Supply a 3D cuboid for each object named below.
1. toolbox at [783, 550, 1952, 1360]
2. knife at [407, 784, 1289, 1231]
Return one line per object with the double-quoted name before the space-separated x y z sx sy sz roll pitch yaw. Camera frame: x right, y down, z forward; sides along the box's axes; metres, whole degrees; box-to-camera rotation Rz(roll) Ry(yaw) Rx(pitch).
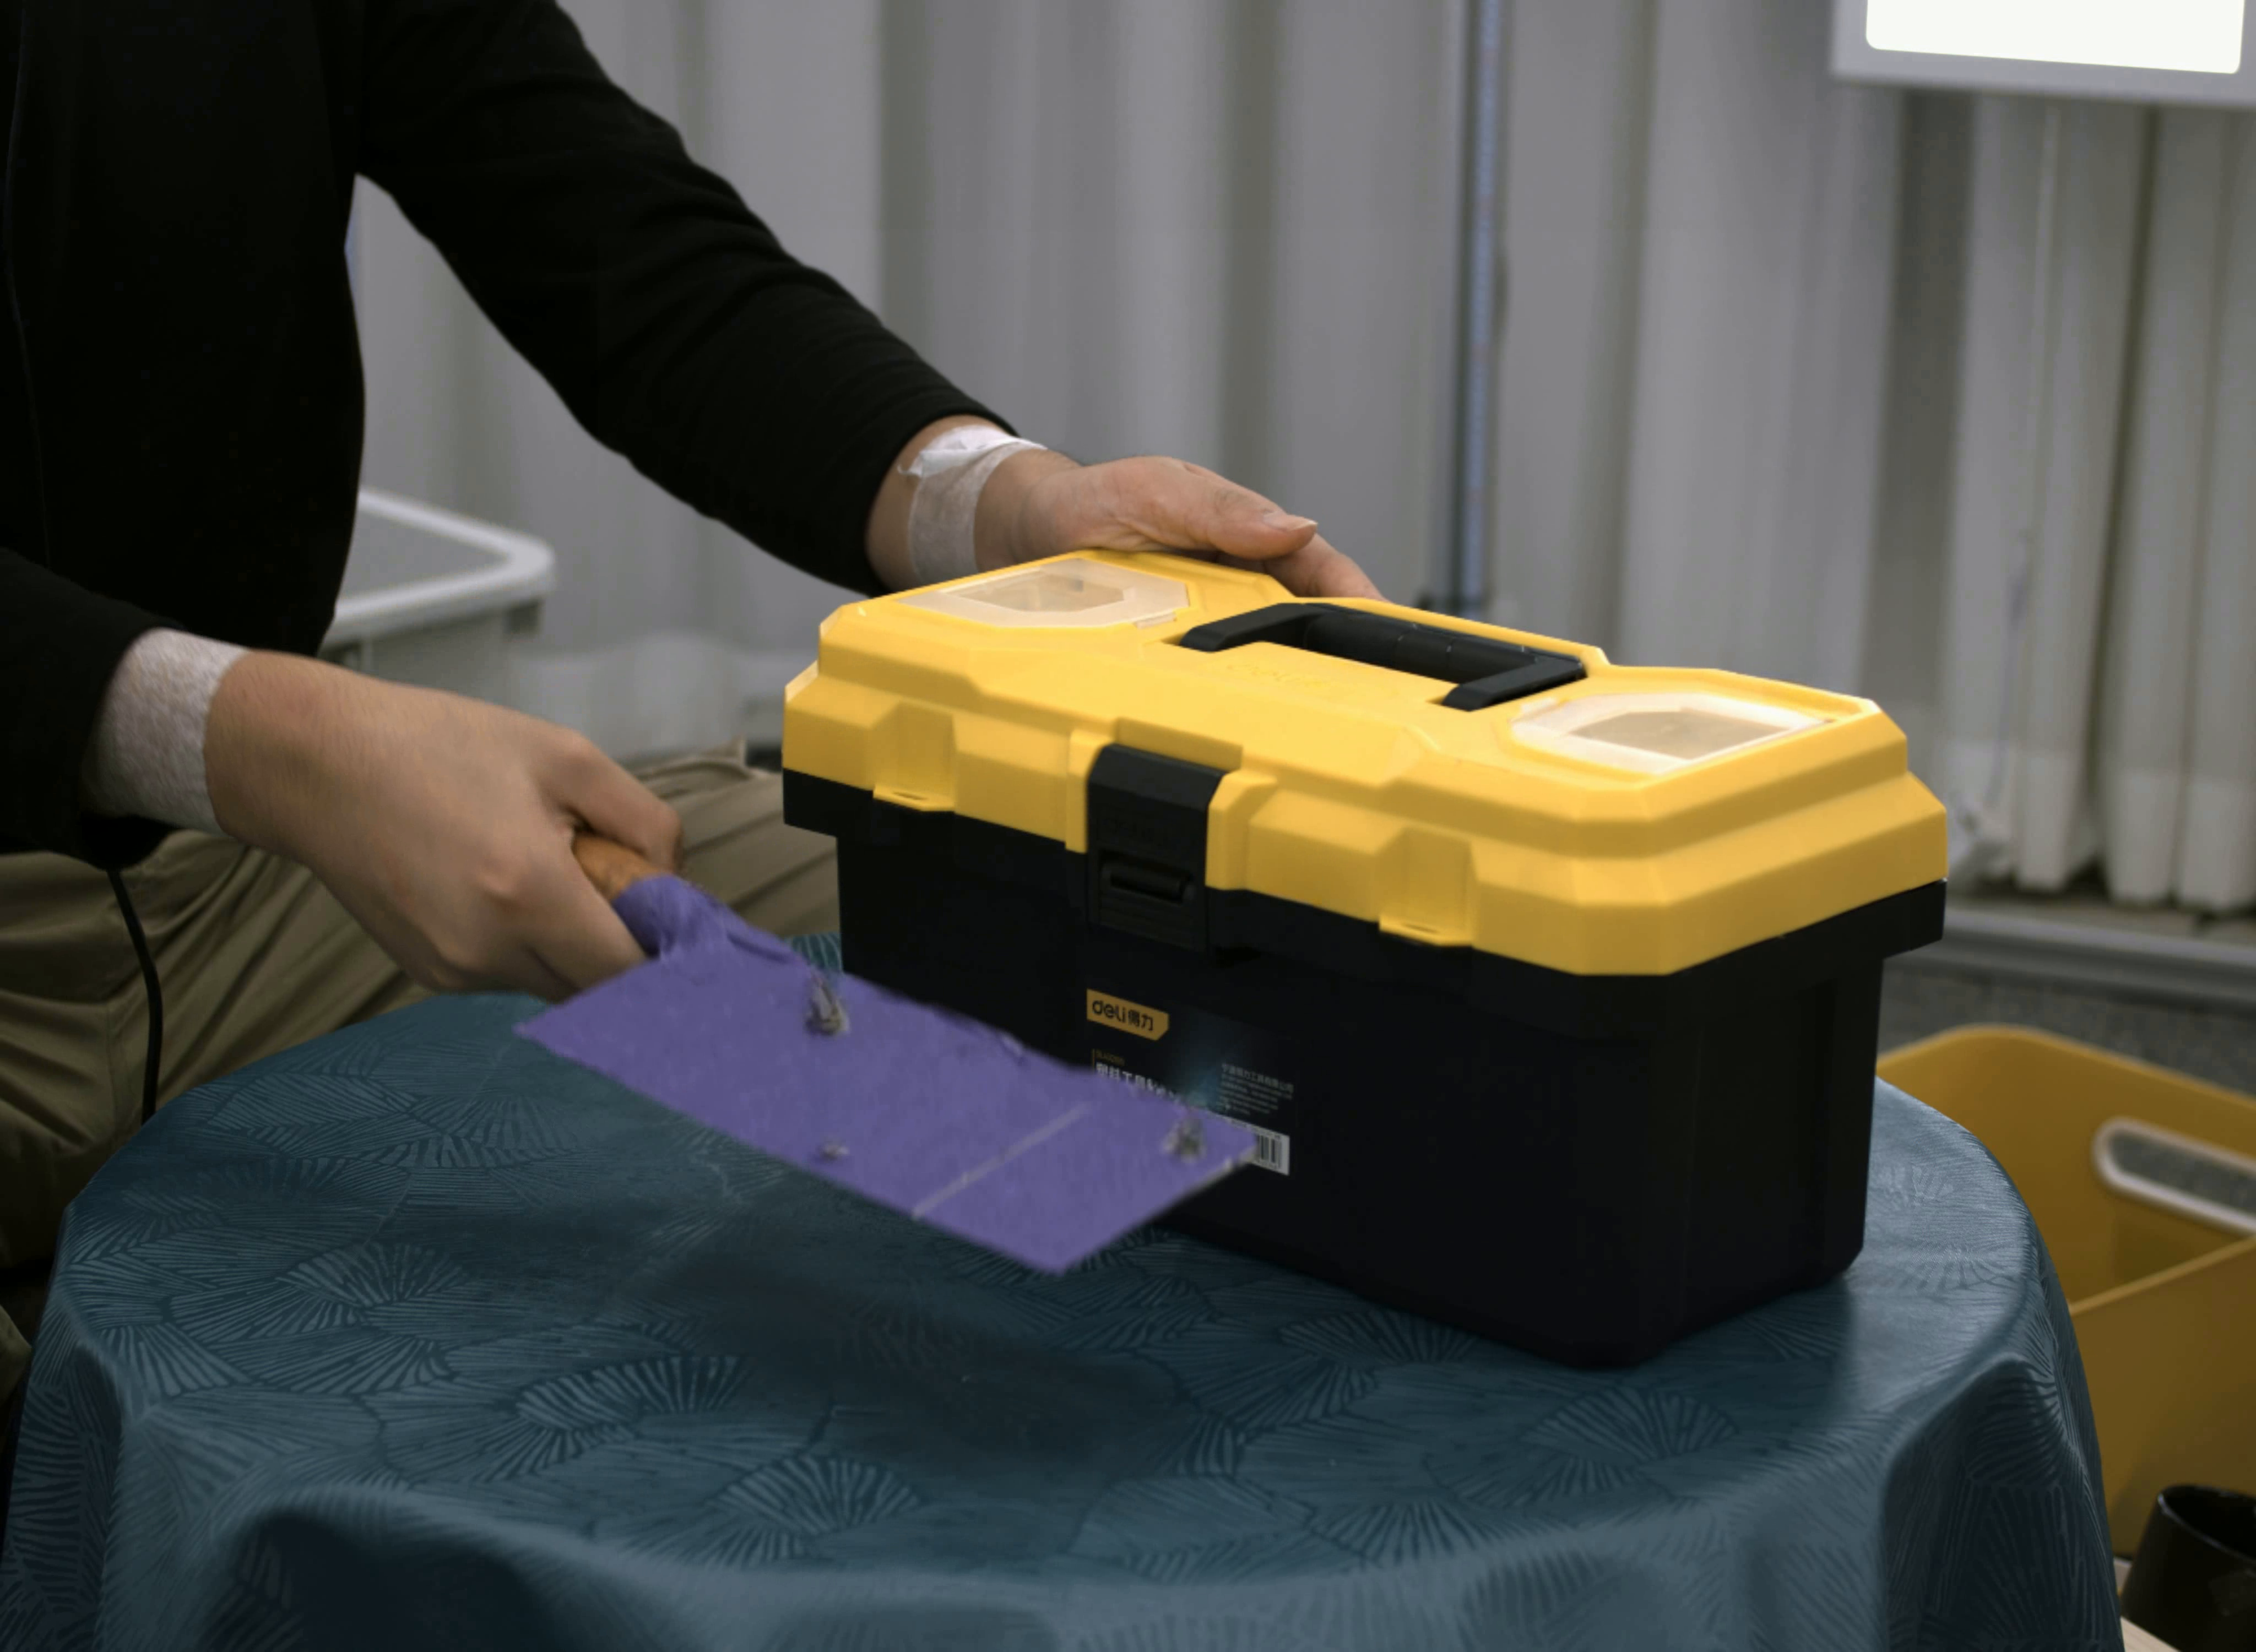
"toolbox" 0.063 0.032 1.590 0.347 0.174 0.182 14 20 41
"knife" -0.107 0.048 1.487 0.311 0.032 0.104 17 29 35
